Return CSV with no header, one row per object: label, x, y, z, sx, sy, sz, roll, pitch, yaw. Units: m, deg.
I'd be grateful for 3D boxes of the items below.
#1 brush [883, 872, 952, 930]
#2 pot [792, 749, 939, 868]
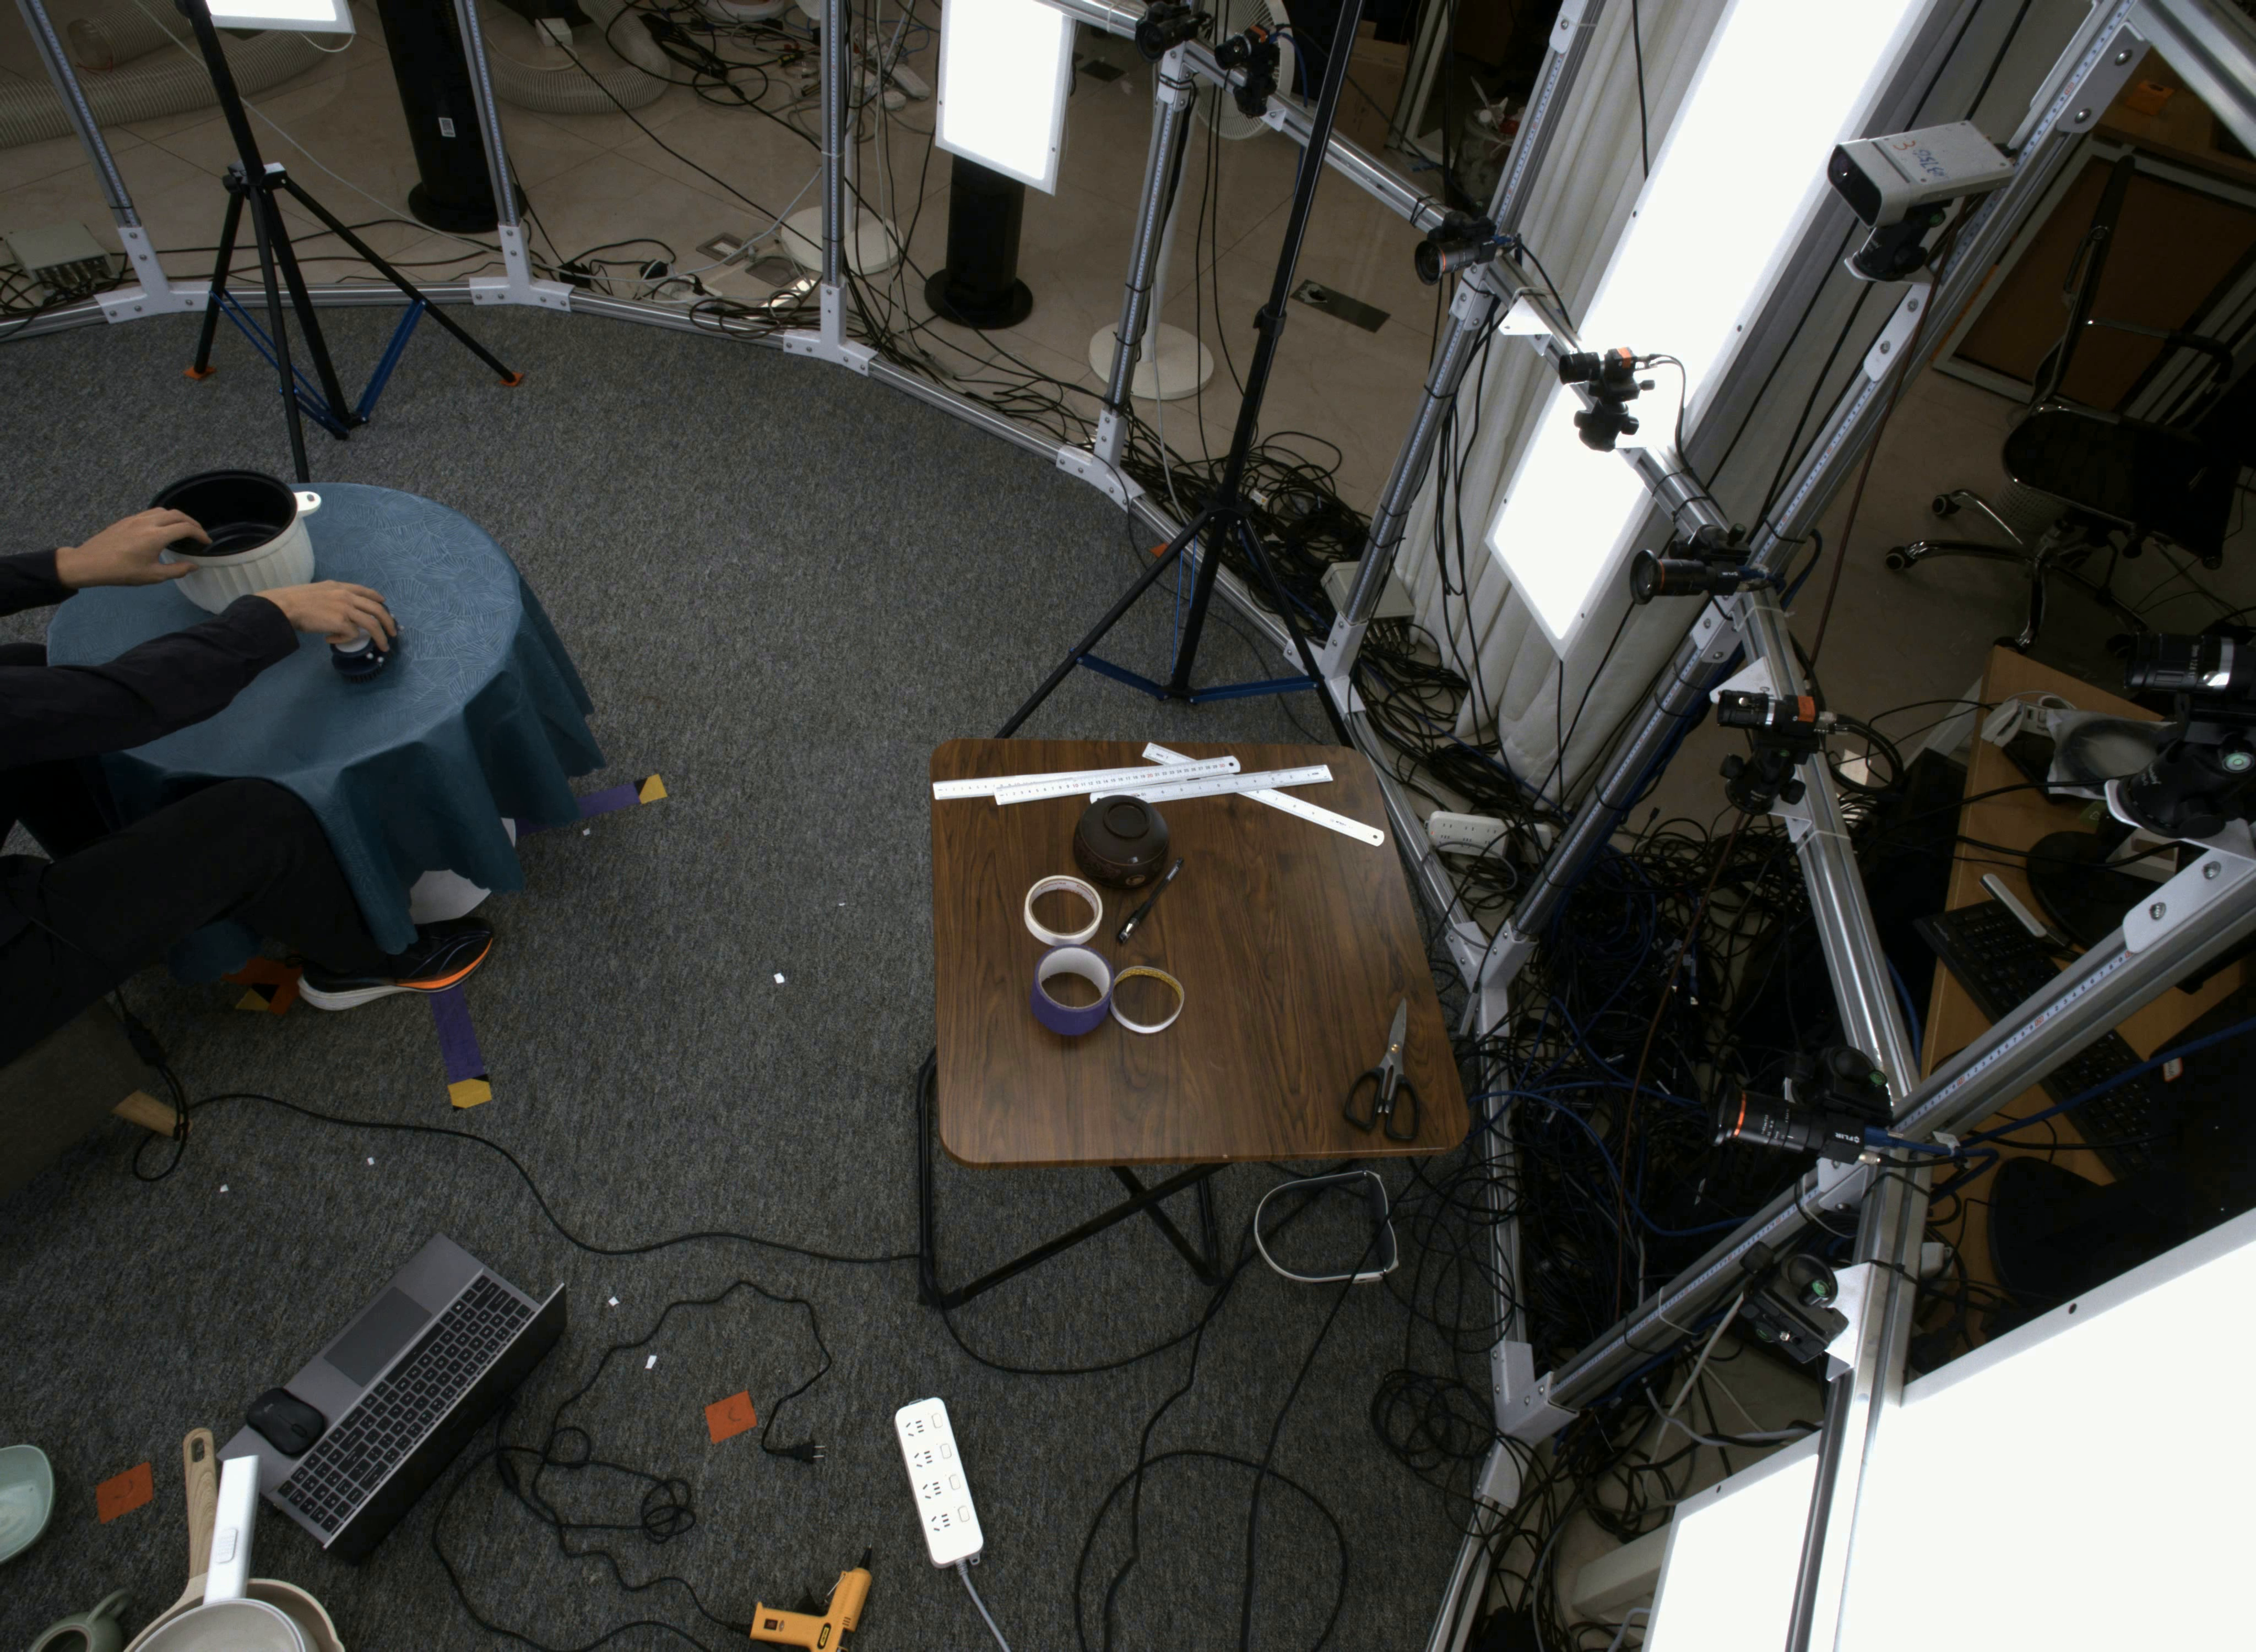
brush,-0.314,0.111,1.946,0.065,0.062,0.123,24,25,30
pot,-0.428,-0.032,2.113,0.238,0.146,0.187,8,26,-1
